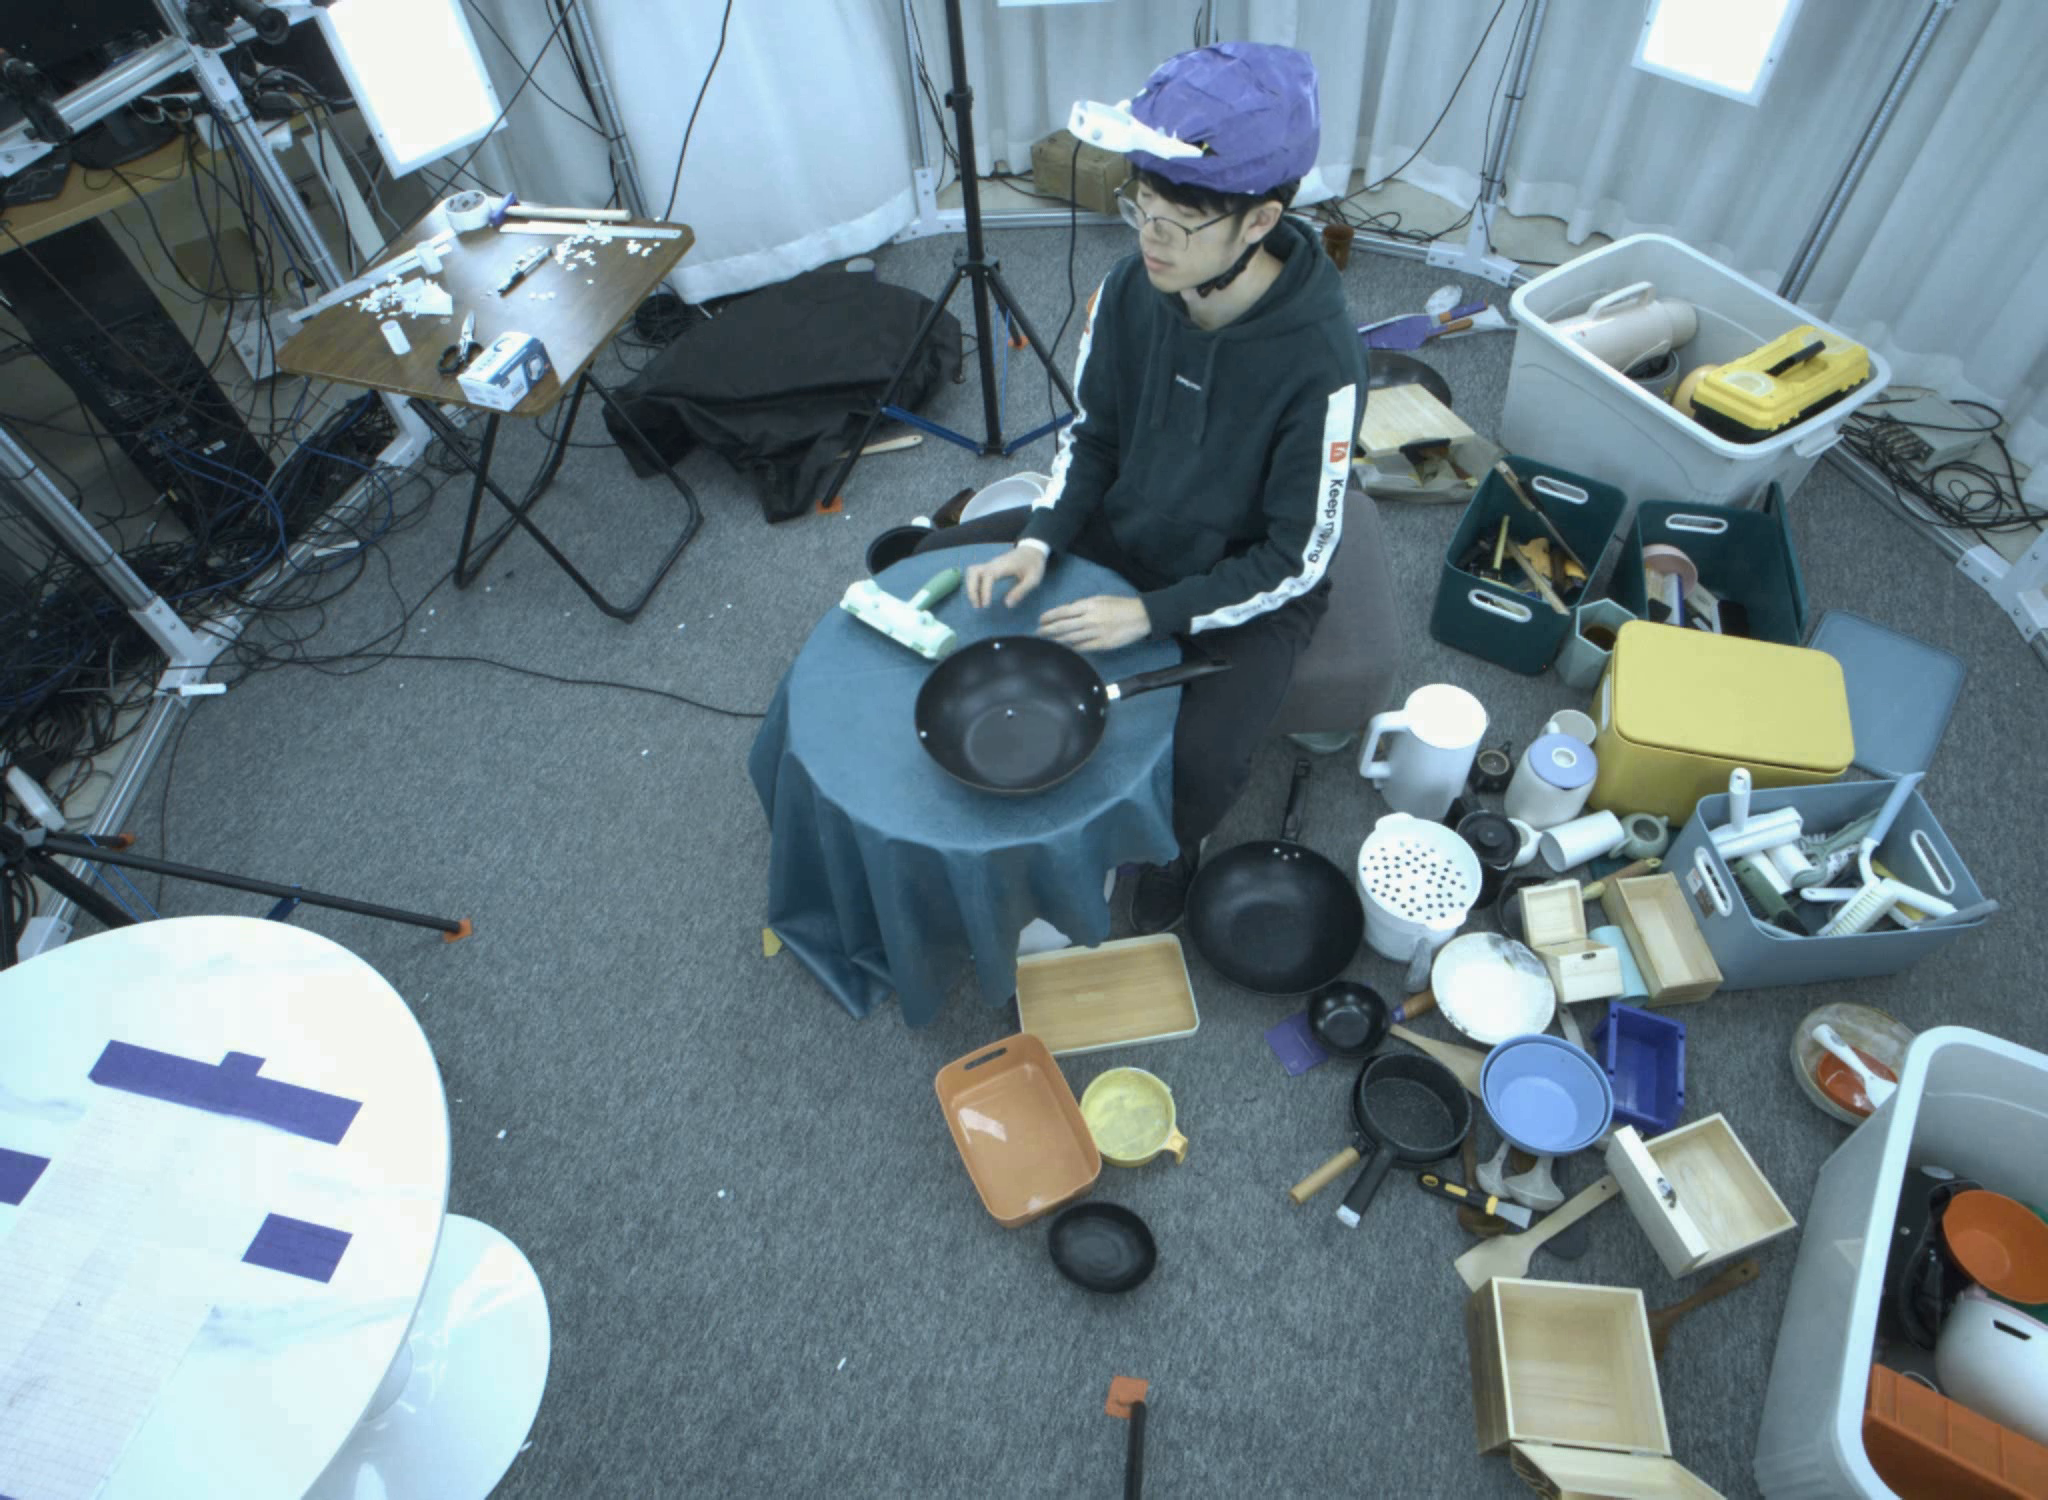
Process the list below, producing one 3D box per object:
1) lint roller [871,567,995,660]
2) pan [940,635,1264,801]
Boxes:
[{"bbox_3d":[-0.112,-0.245,1.914,0.195,0.083,0.184,33,67,23],"label":"lint roller"},{"bbox_3d":[0.113,-0.050,1.763,0.465,0.088,0.284,-11,56,-7],"label":"pan"}]
